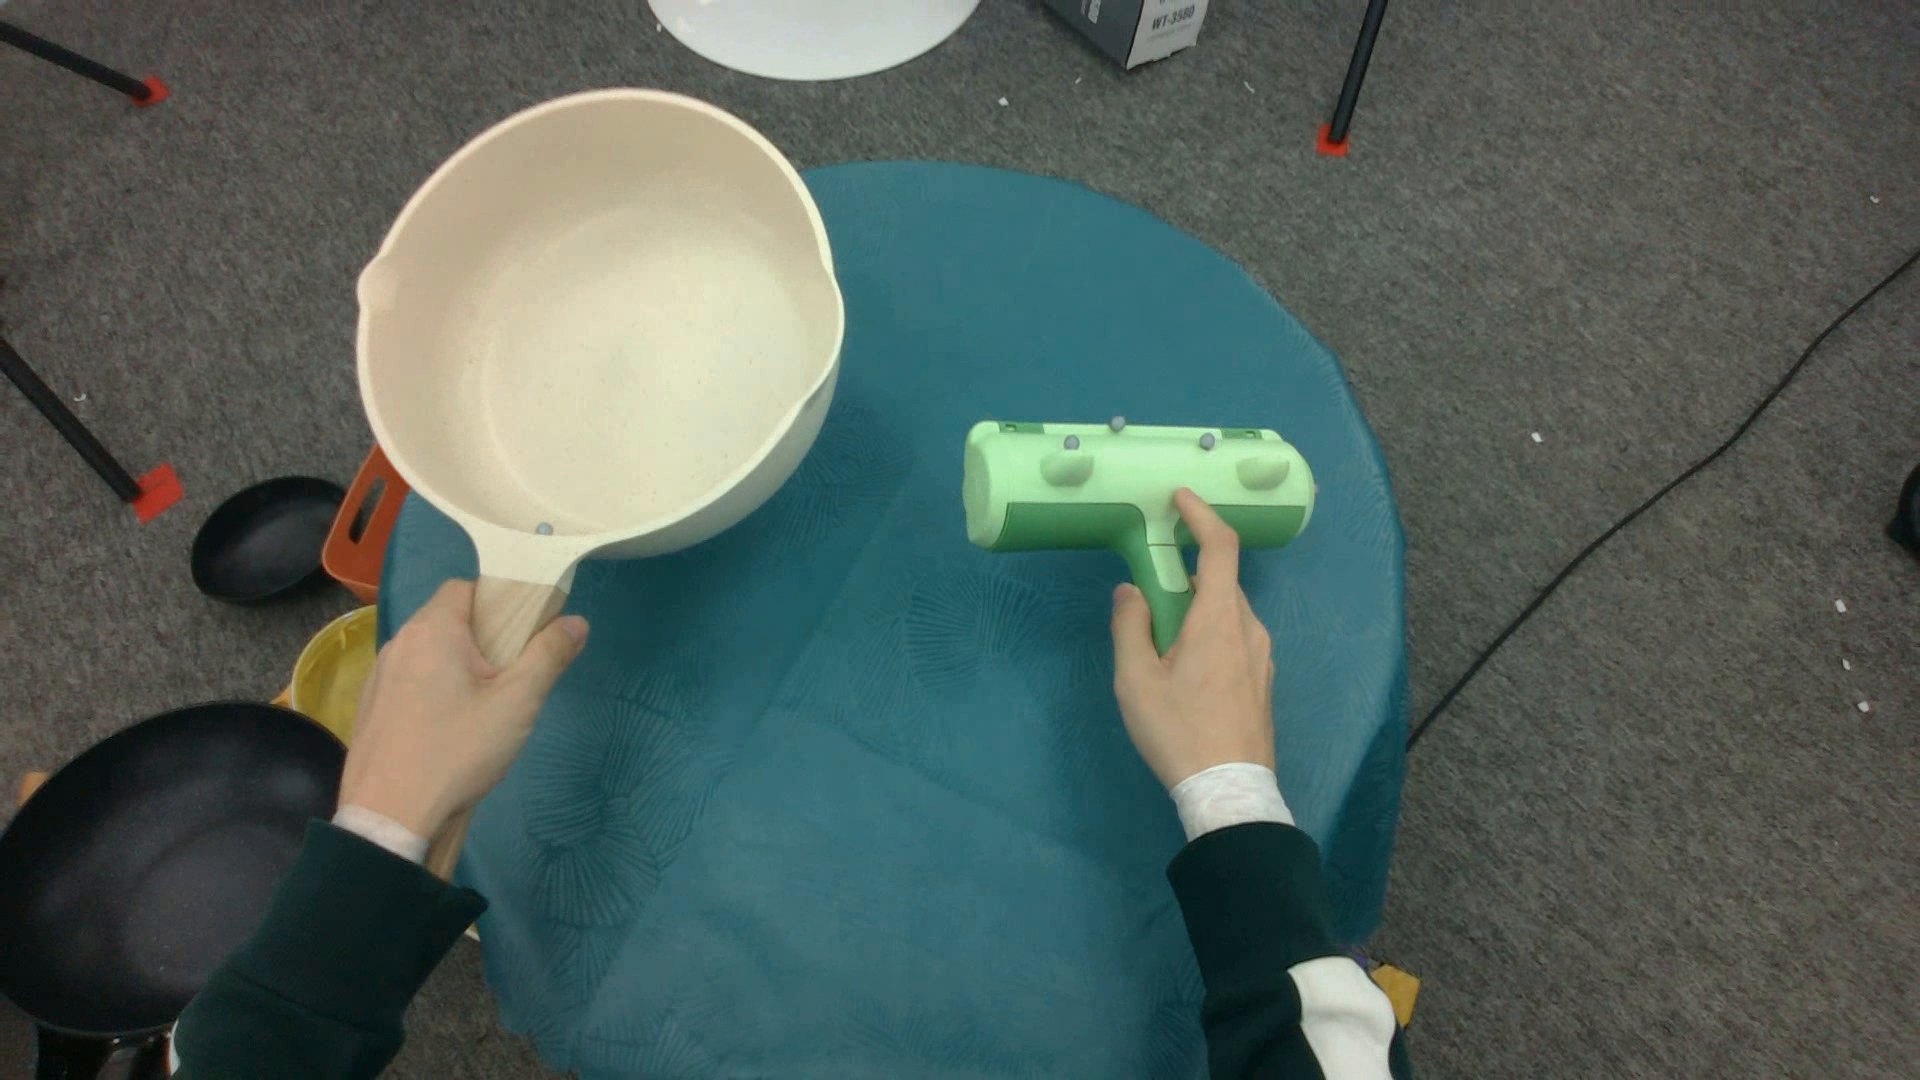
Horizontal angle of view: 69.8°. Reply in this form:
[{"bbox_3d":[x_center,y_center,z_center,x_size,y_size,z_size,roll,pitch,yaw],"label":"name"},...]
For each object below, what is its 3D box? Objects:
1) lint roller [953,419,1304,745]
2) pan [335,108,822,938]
[{"bbox_3d":[0.107,0.009,0.714,0.199,0.082,0.184,-2,54,-21],"label":"lint roller"},{"bbox_3d":[-0.211,-0.018,0.715,0.263,0.102,0.436,7,73,7],"label":"pan"}]
